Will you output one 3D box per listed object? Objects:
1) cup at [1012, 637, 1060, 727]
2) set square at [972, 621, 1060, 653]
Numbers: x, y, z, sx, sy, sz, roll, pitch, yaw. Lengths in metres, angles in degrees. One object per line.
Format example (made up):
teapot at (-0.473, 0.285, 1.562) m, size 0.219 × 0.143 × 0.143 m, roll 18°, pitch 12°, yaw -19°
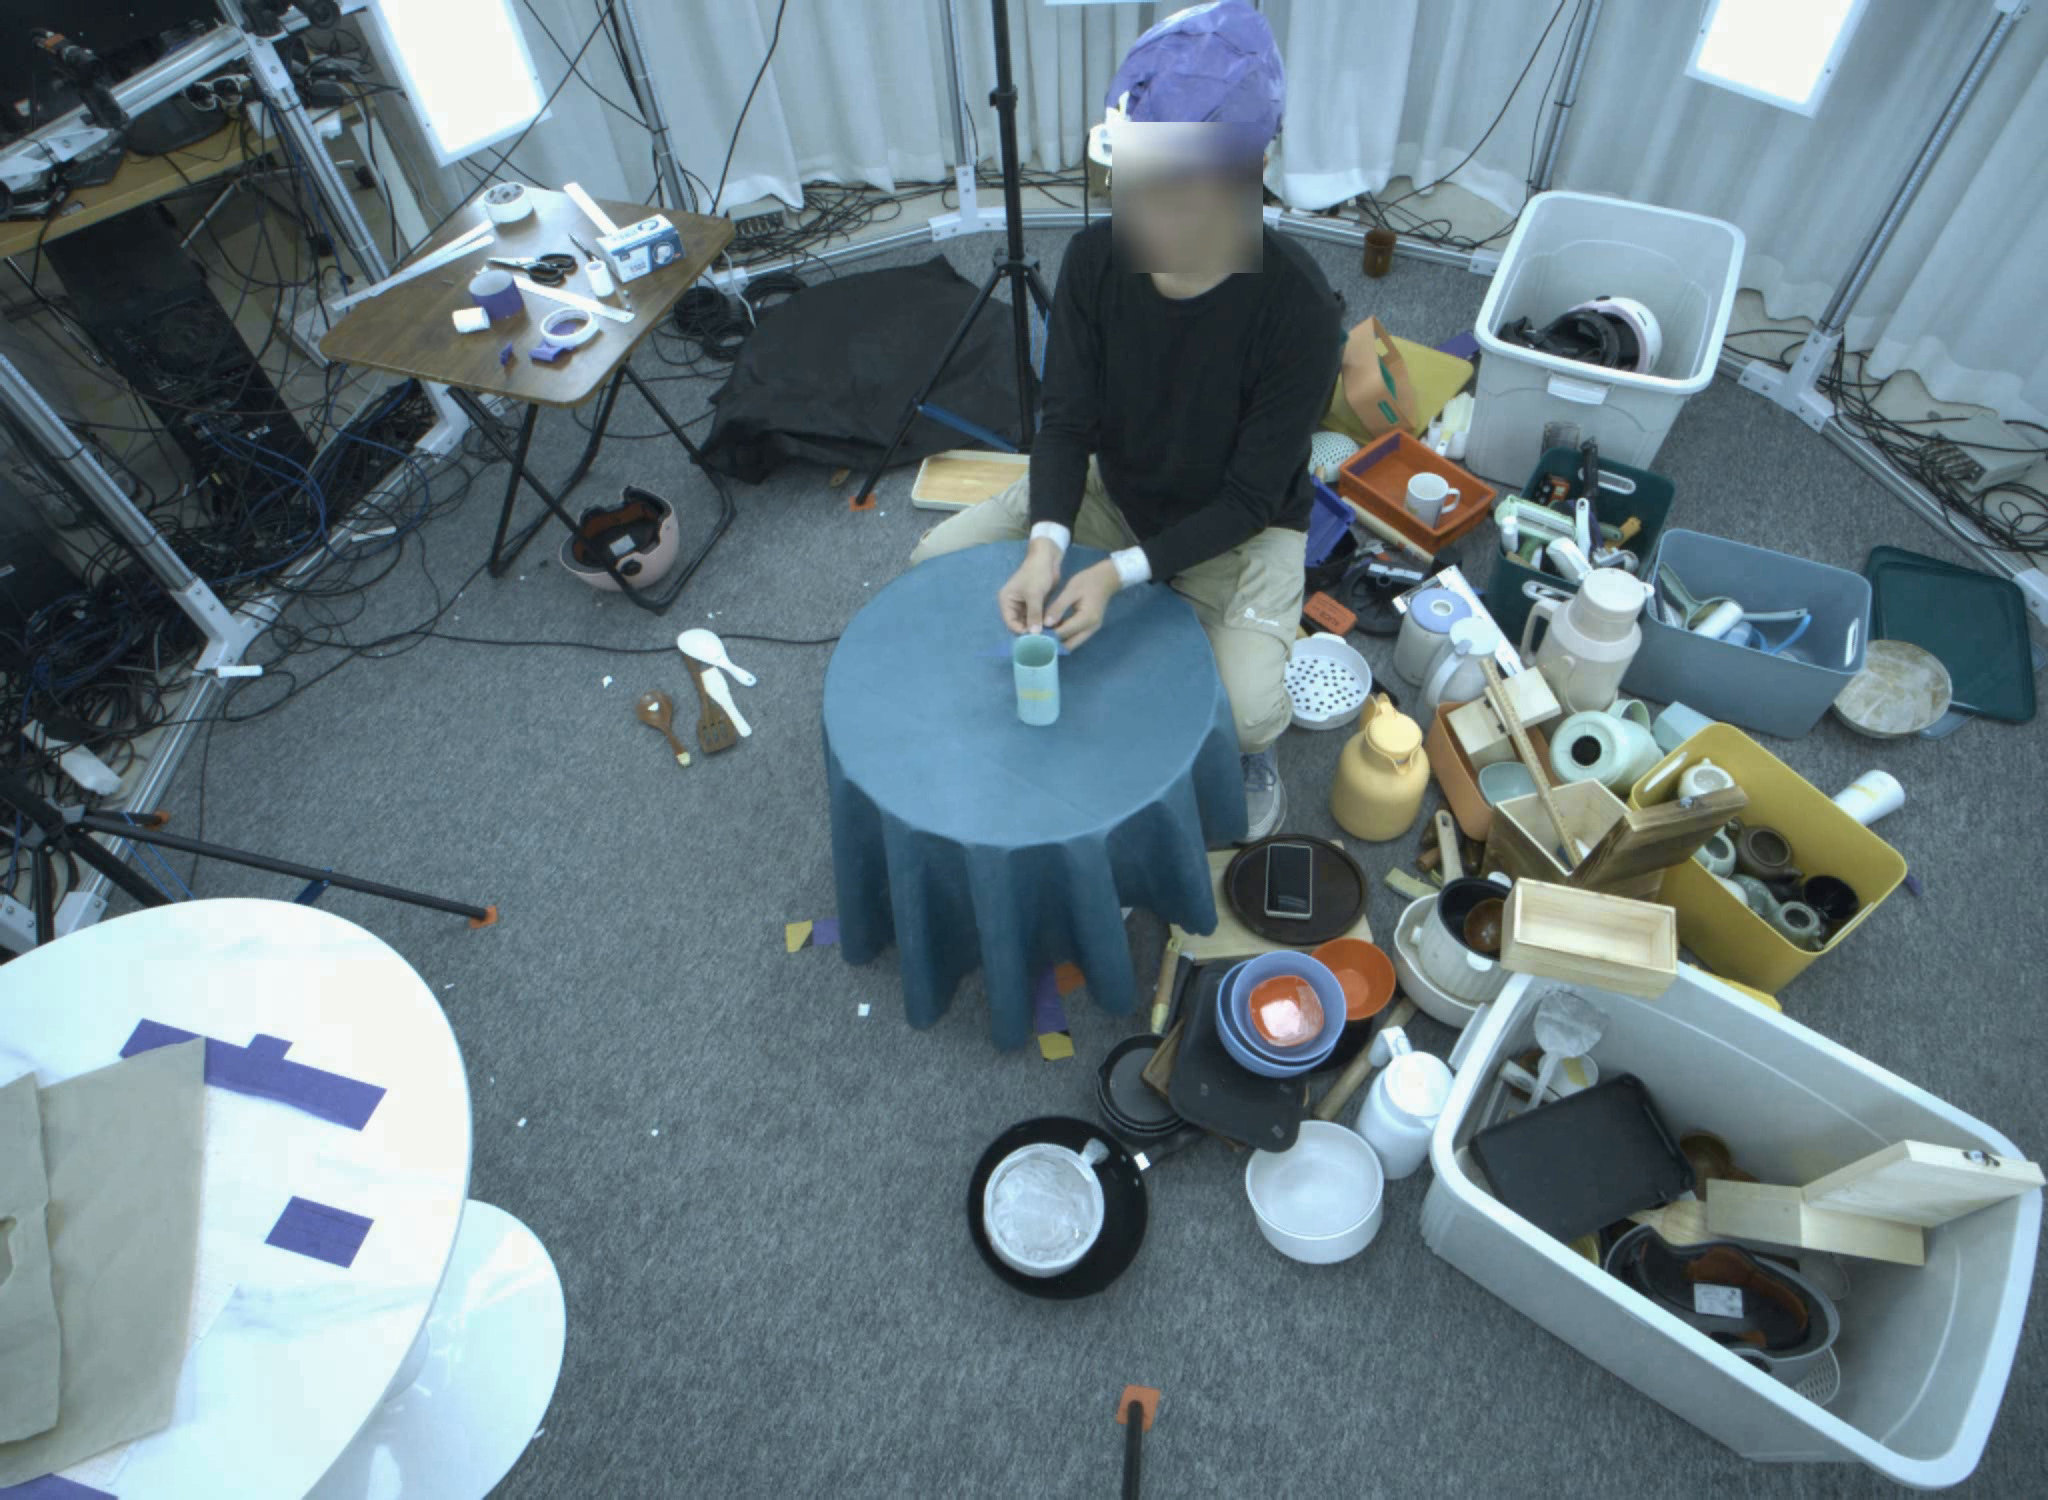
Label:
cup at (0.019, -0.098, 1.781) m, size 0.066 × 0.134 × 0.066 m, roll -2°, pitch 55°, yaw 3°
set square at (-0.010, -0.167, 1.800) m, size 0.131 × 0.006 × 0.060 m, roll 3°, pitch 57°, yaw 7°
